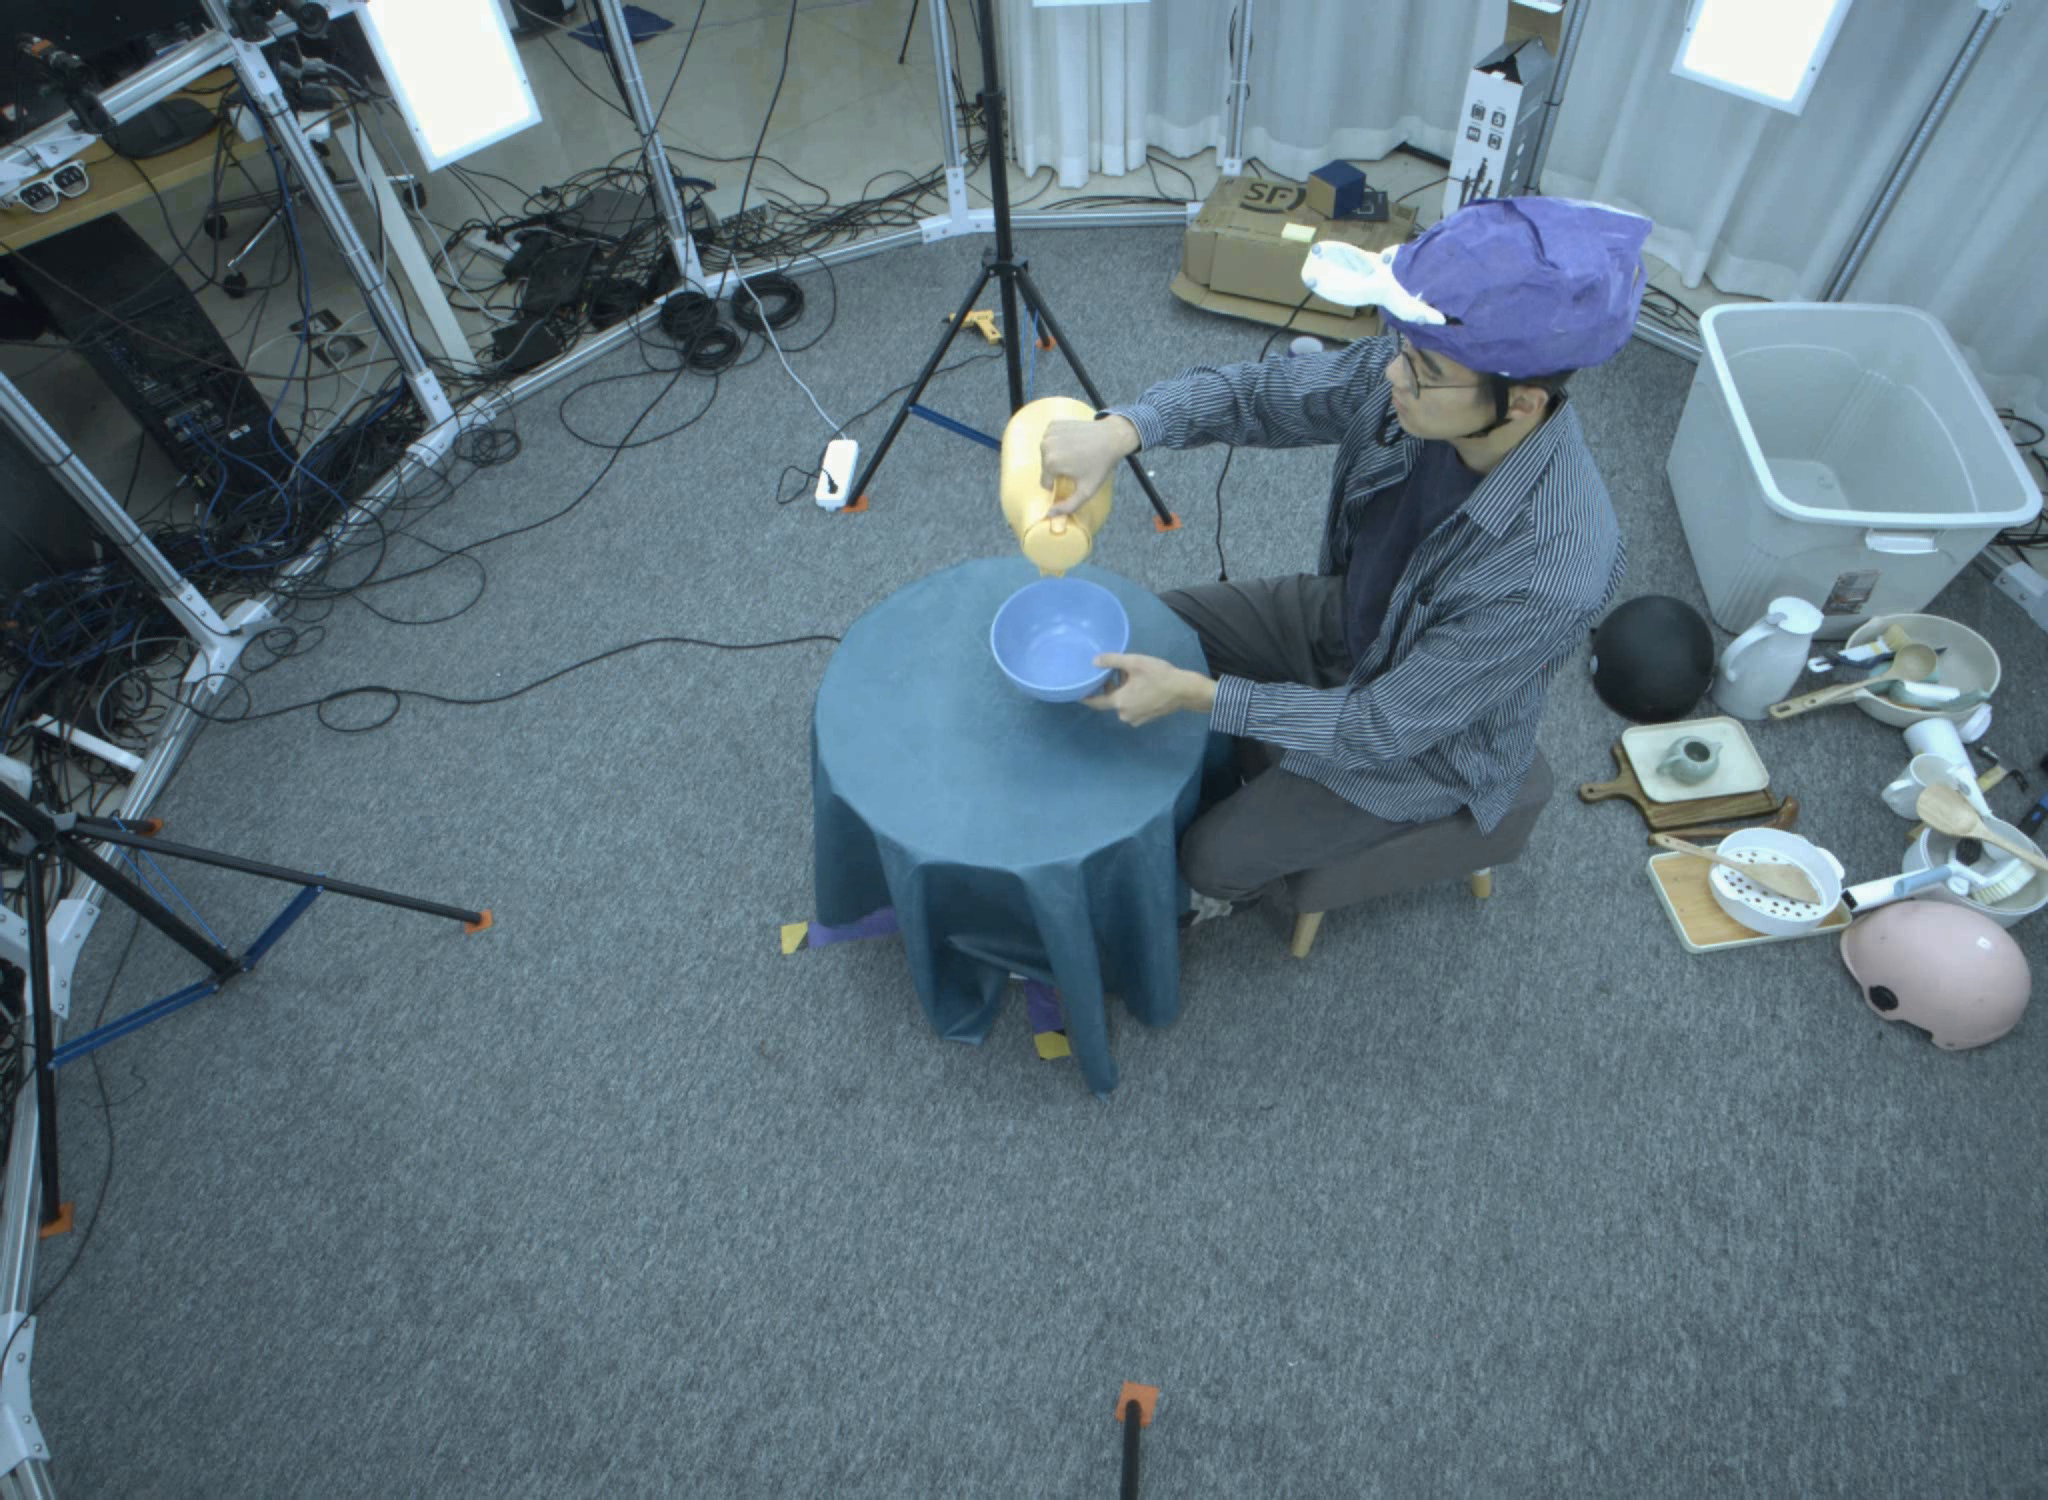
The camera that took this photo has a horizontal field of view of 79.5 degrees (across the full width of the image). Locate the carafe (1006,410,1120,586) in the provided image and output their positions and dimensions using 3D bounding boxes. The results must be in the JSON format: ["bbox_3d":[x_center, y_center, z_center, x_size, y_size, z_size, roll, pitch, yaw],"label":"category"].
[{"bbox_3d":[0.058,-0.374,1.734,0.164,0.204,0.258,5,51,-3],"label":"carafe"}]

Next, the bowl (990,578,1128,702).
[{"bbox_3d":[0.054,-0.144,1.776,0.196,0.096,0.194,-2,60,5],"label":"bowl"}]
